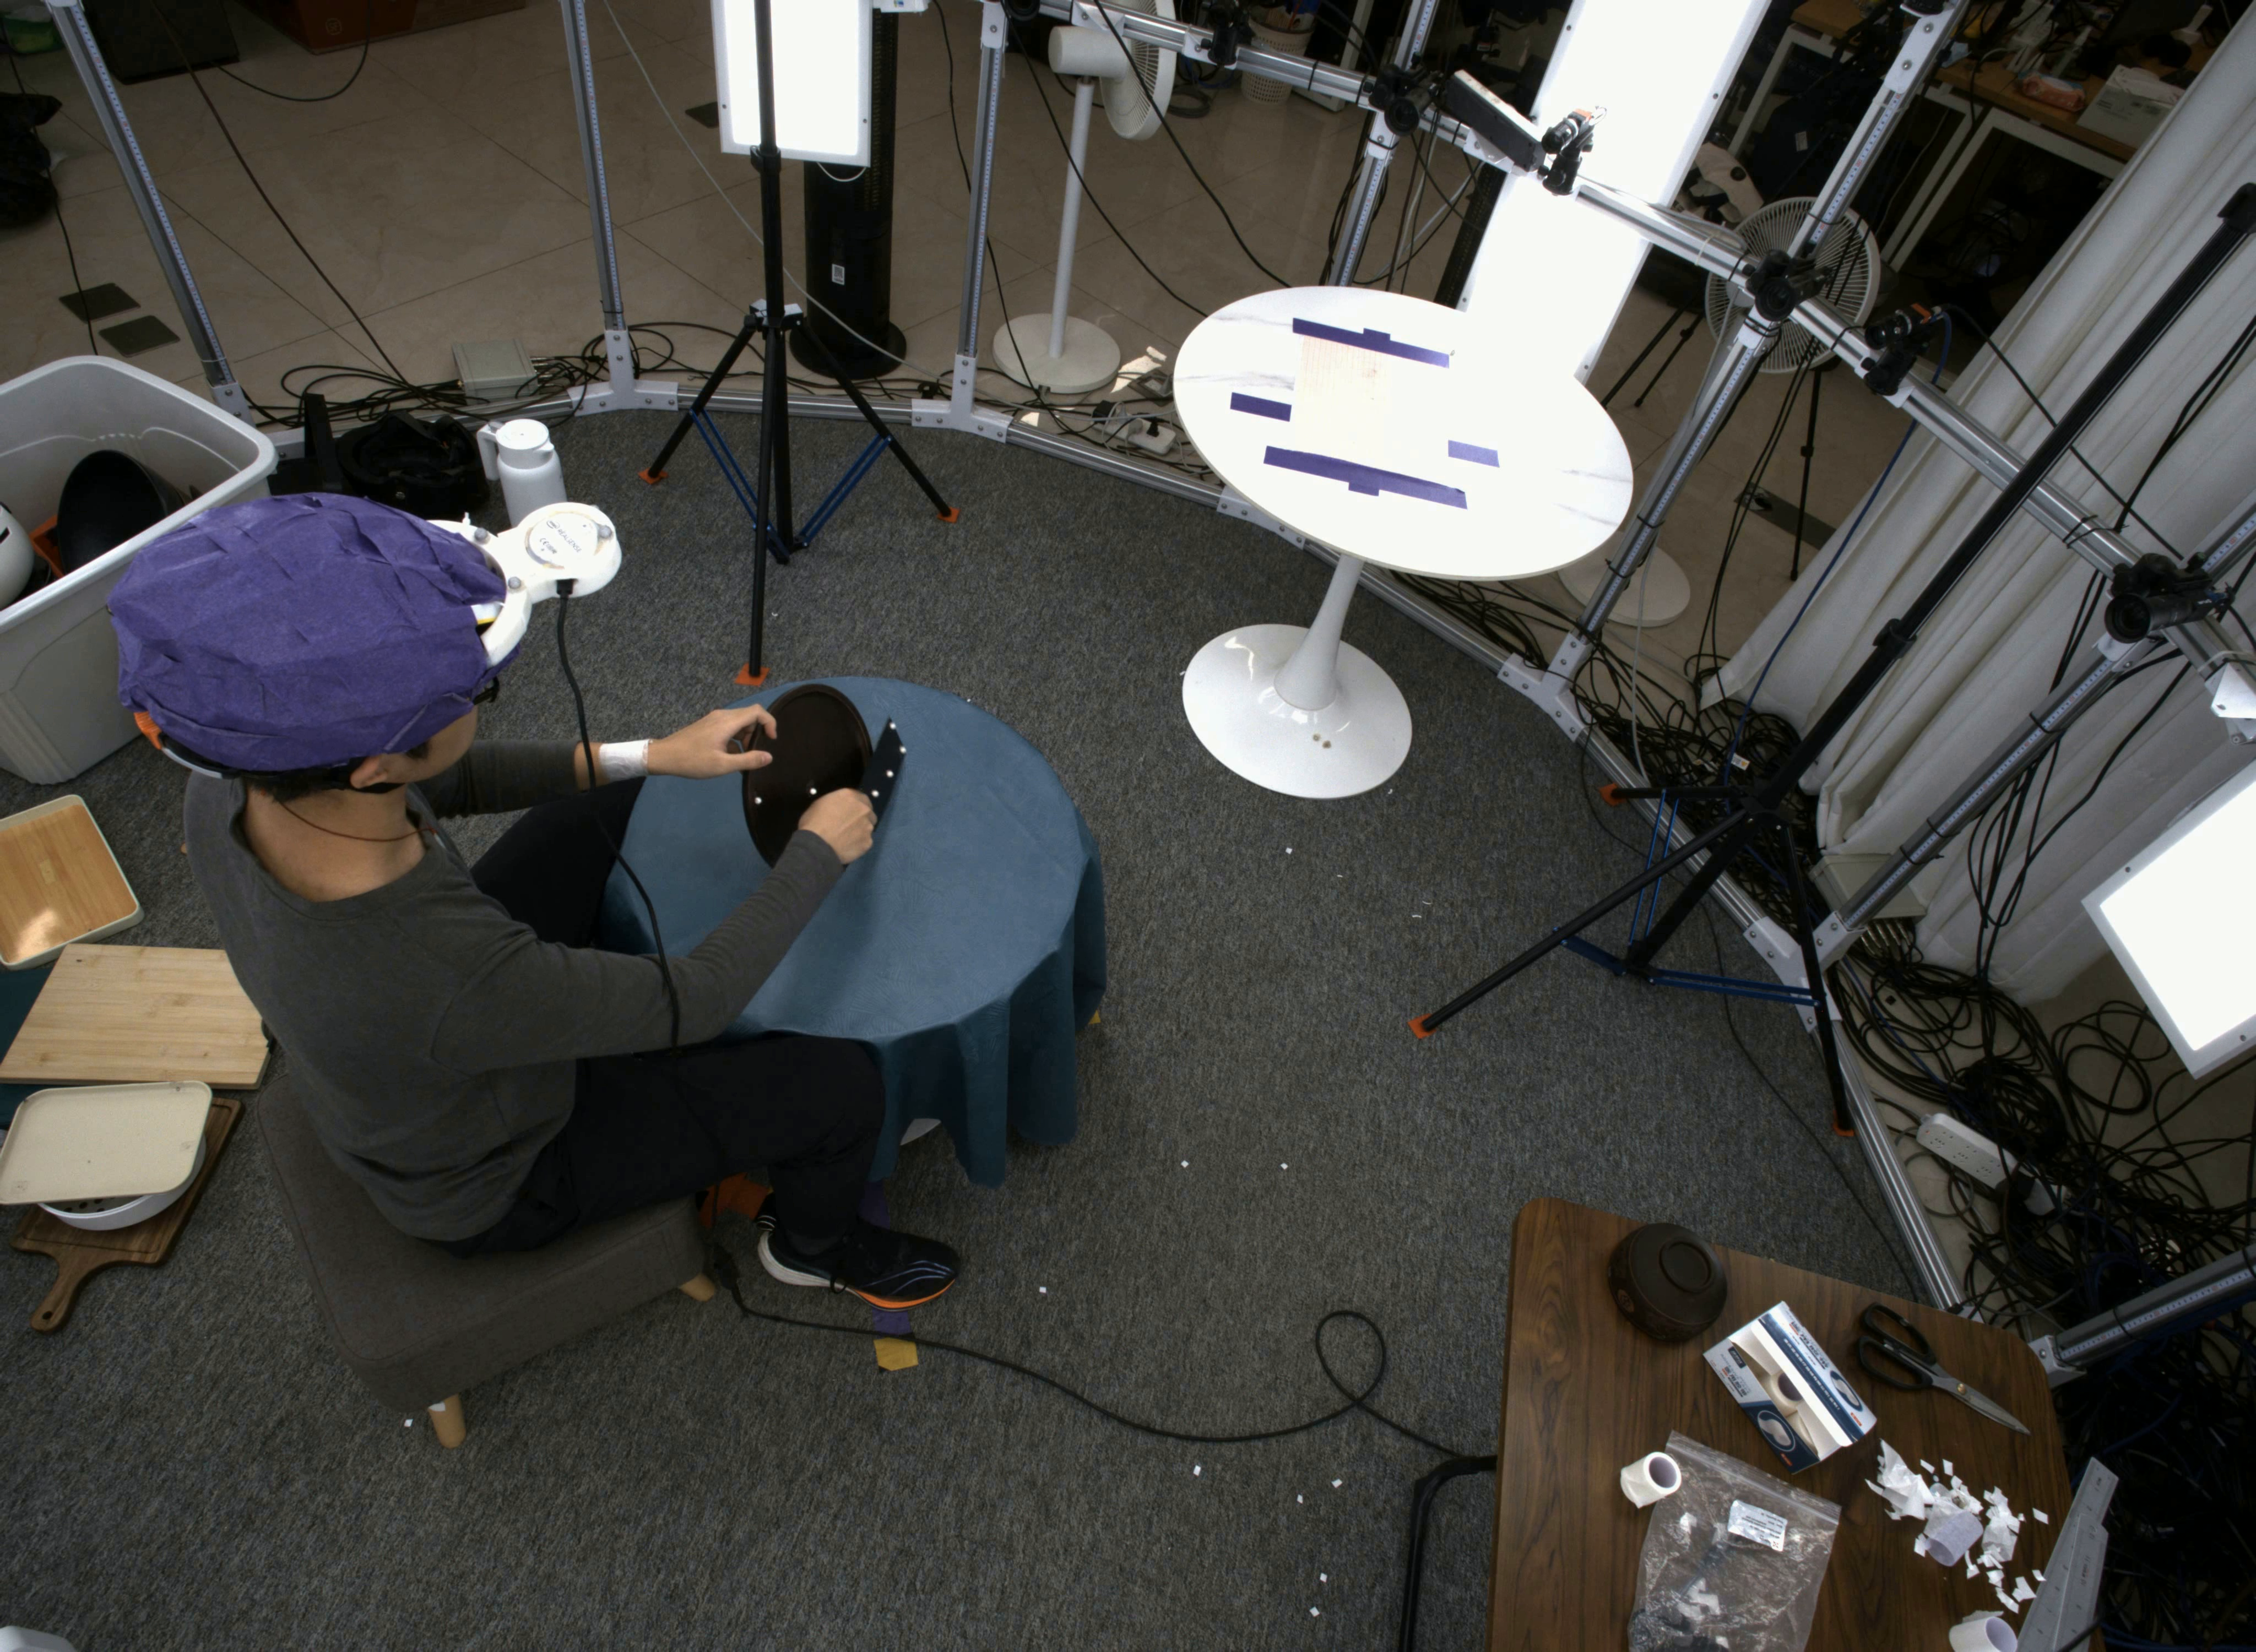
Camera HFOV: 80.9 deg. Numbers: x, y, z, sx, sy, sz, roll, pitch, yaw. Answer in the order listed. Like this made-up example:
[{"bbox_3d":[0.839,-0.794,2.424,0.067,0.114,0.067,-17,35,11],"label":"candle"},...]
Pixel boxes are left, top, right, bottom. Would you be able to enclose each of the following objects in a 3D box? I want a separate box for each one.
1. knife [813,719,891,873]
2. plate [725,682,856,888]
[{"bbox_3d":[-0.353,-0.037,1.681,0.020,0.084,0.297,-11,31,14],"label":"knife"},{"bbox_3d":[-0.420,-0.051,1.631,0.028,0.265,0.252,4,48,23],"label":"plate"}]
